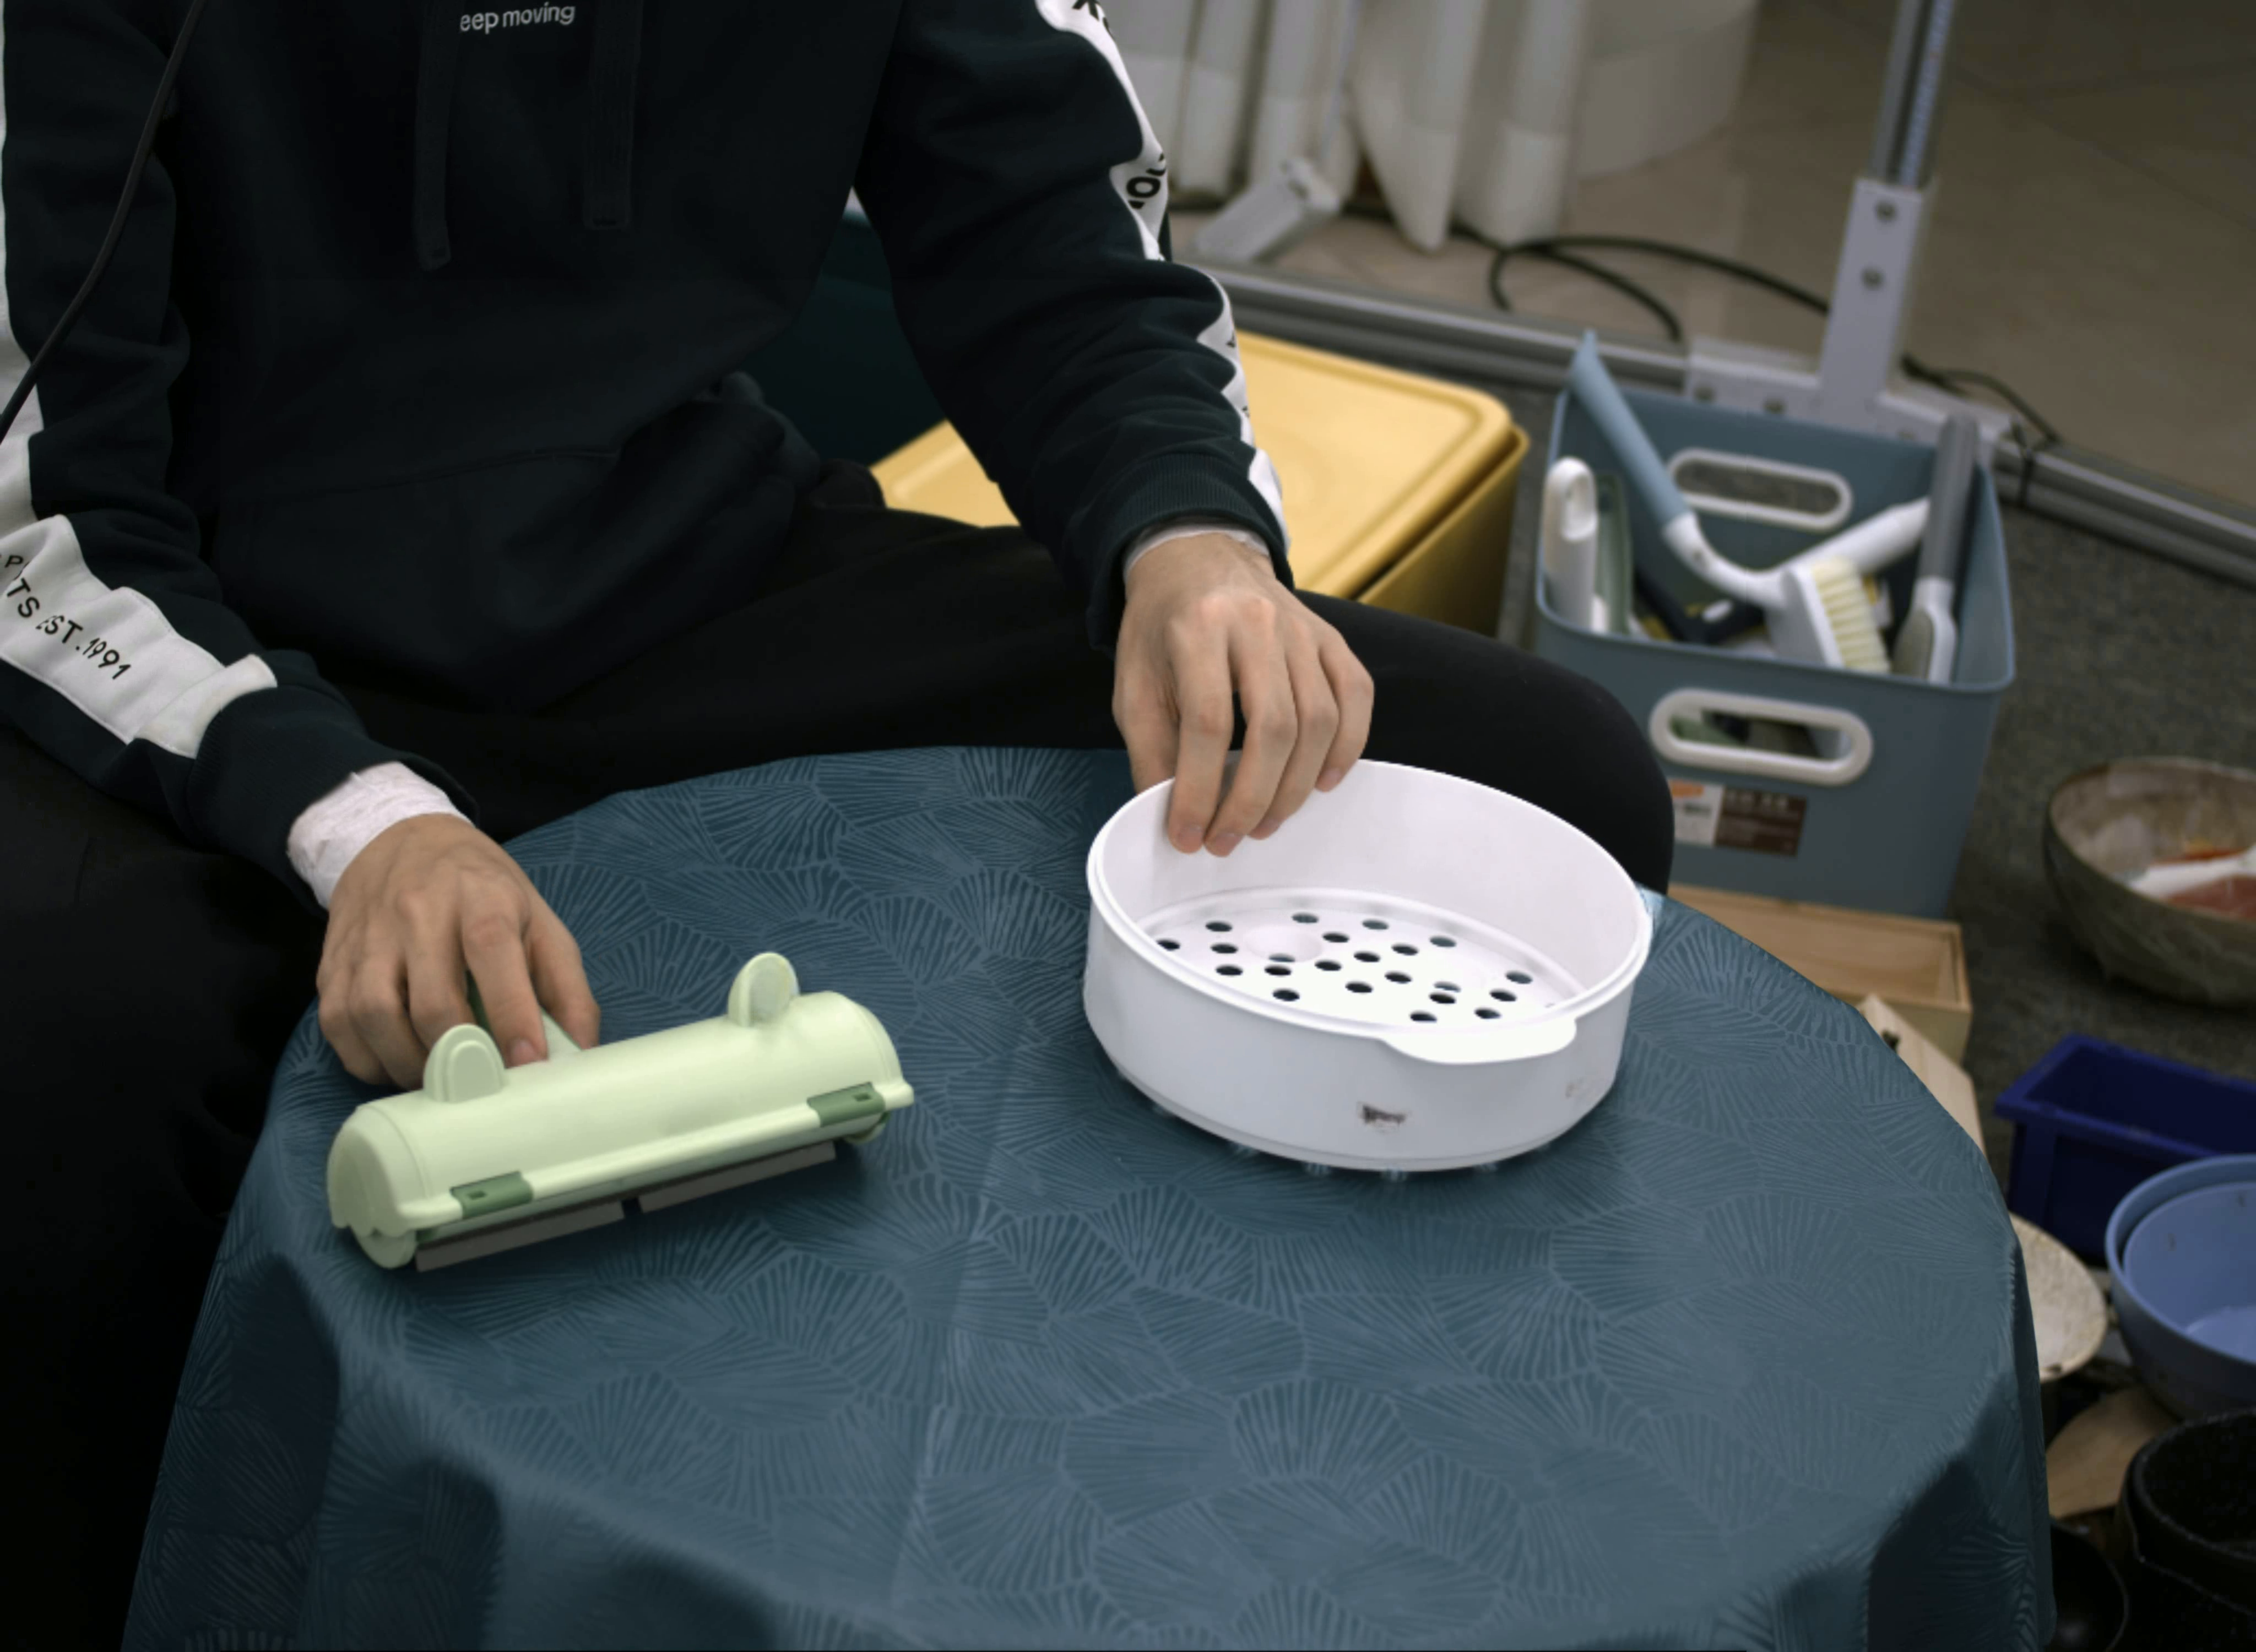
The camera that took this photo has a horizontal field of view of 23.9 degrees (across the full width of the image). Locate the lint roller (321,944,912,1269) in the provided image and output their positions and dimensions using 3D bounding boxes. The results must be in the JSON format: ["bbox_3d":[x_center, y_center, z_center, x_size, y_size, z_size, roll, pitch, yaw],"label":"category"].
[{"bbox_3d":[-0.198,0.066,1.783,0.197,0.082,0.185,-13,37,-33],"label":"lint roller"}]

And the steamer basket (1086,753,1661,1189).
[{"bbox_3d":[0.085,0.053,1.882,0.200,0.069,0.233,-6,31,-21],"label":"steamer basket"}]
